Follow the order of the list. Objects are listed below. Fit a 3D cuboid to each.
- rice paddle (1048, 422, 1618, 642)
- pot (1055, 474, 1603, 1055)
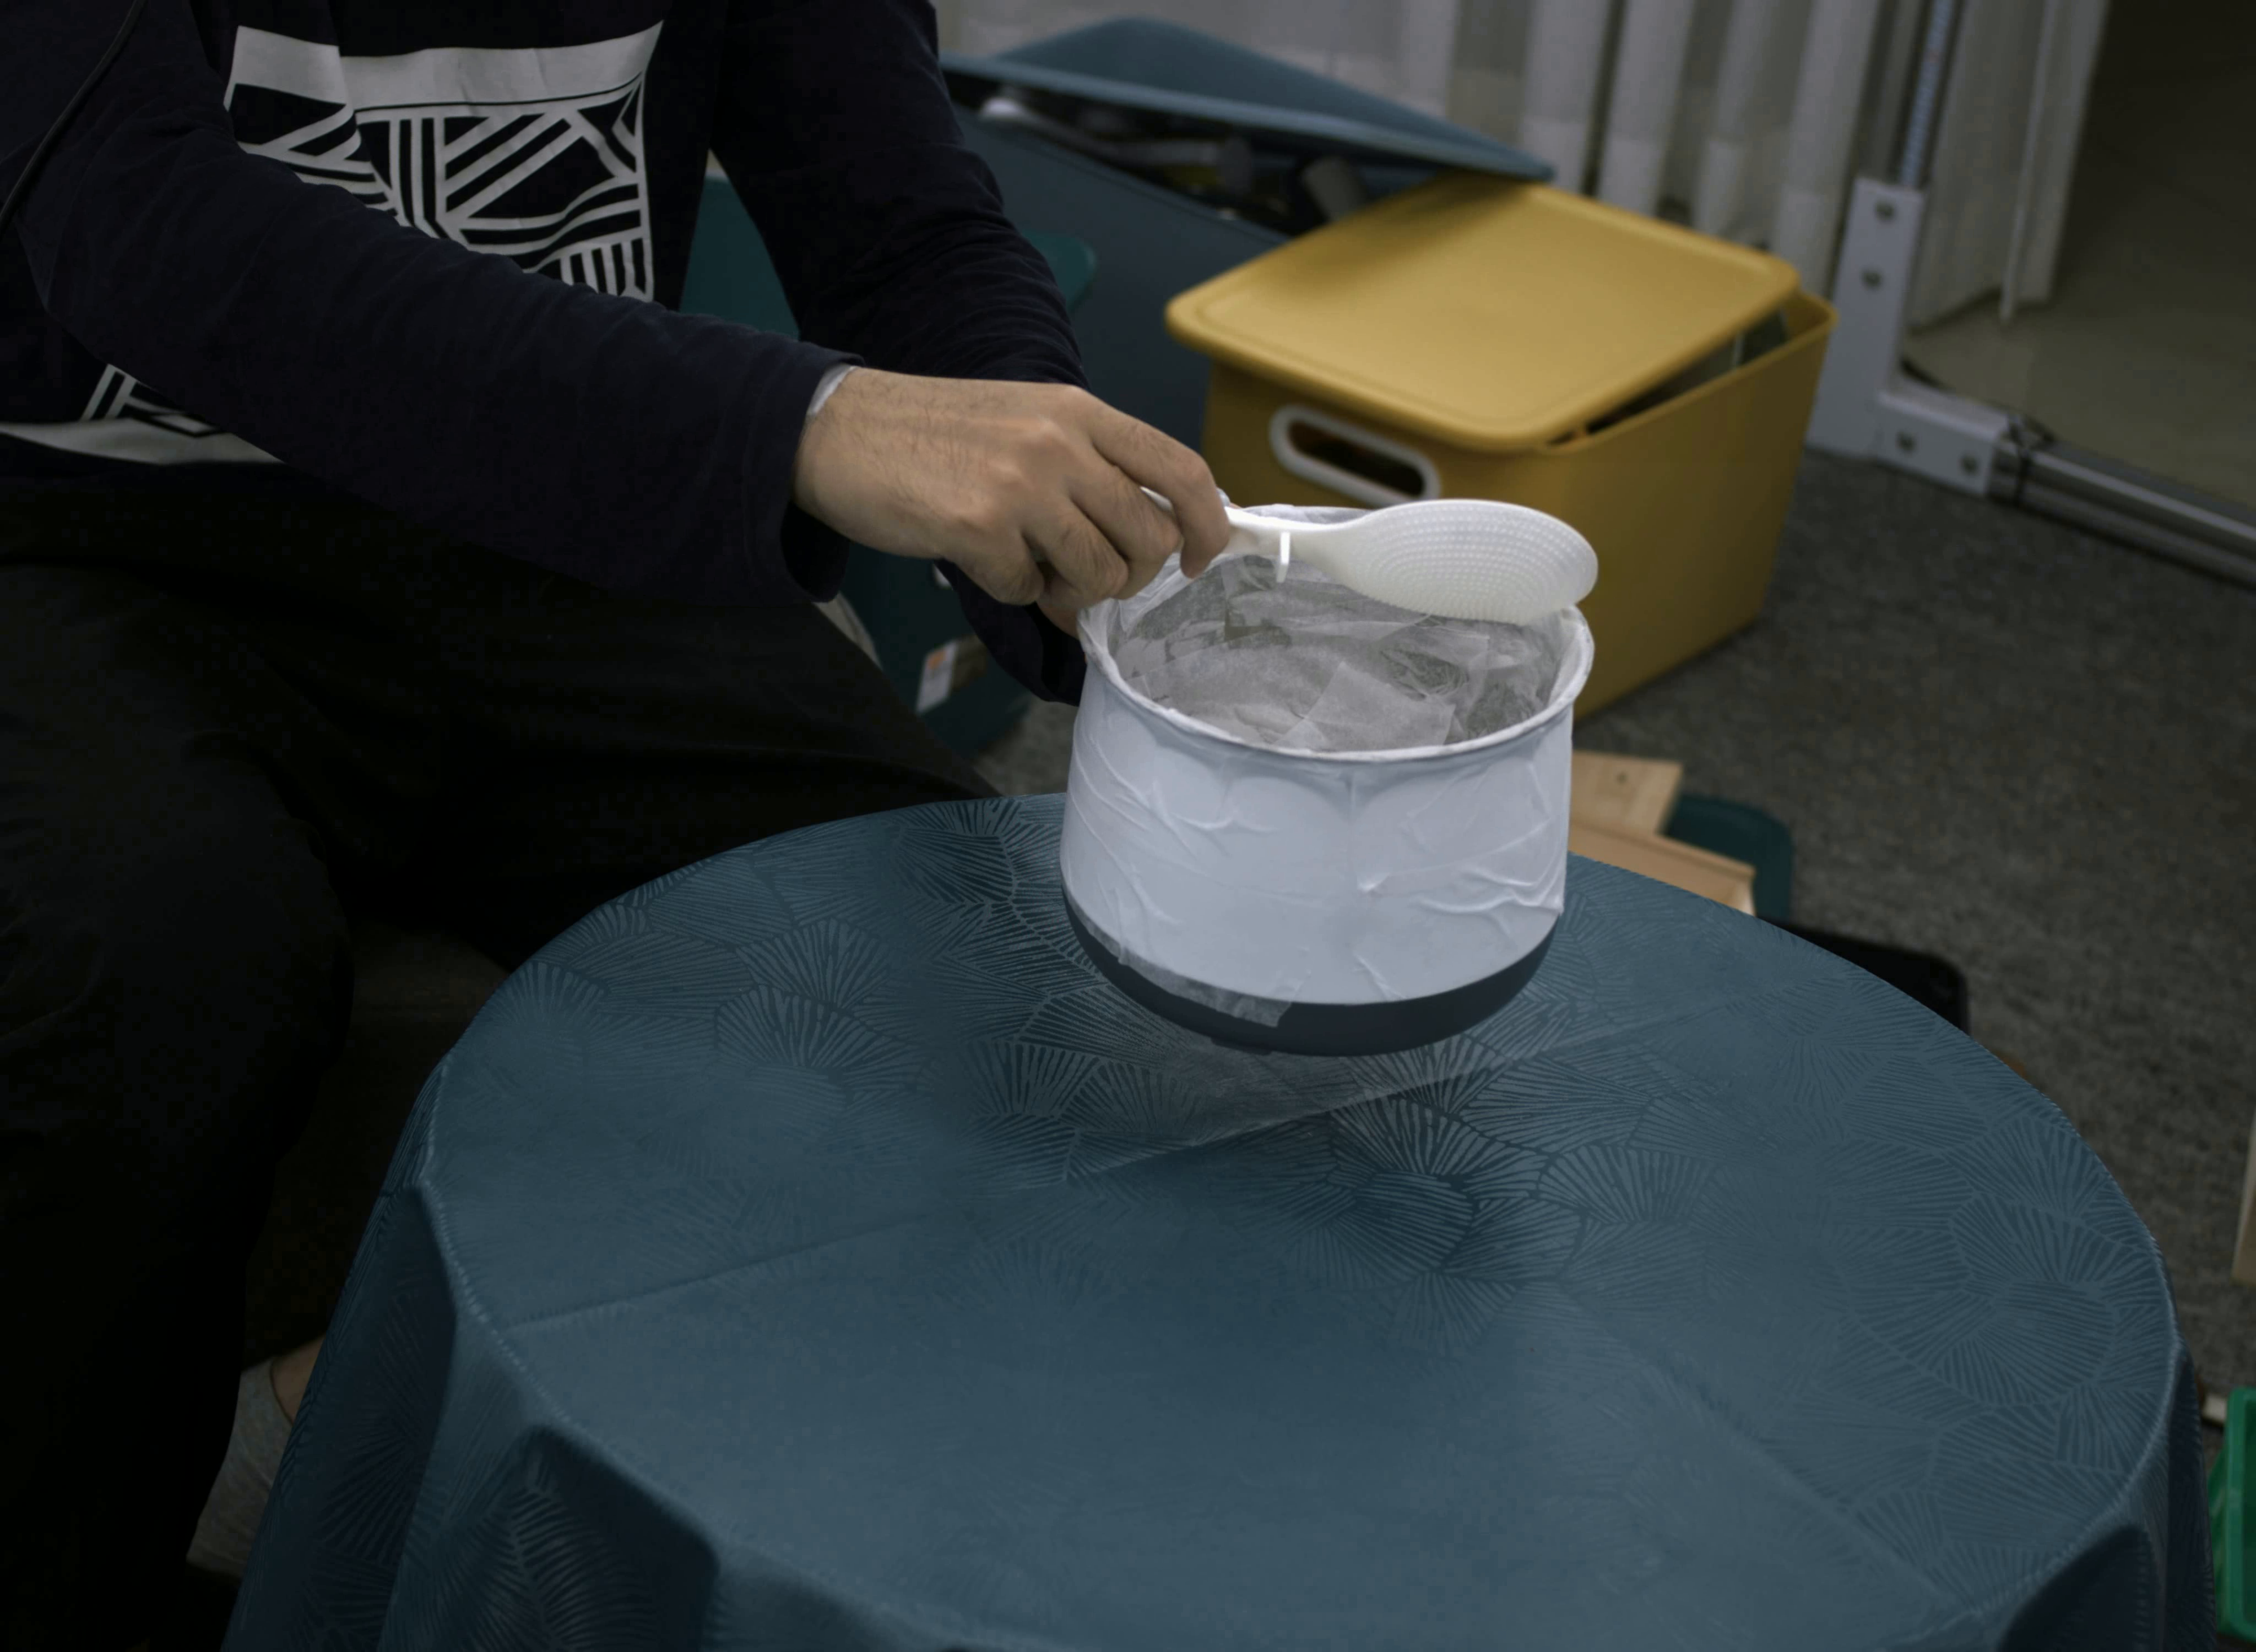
[{"bbox_3d":[0.072,-0.098,1.803,0.204,0.068,0.029,13,53,-18],"label":"rice paddle"},{"bbox_3d":[0.054,-0.029,1.862,0.177,0.136,0.236,-9,34,-26],"label":"pot"}]
